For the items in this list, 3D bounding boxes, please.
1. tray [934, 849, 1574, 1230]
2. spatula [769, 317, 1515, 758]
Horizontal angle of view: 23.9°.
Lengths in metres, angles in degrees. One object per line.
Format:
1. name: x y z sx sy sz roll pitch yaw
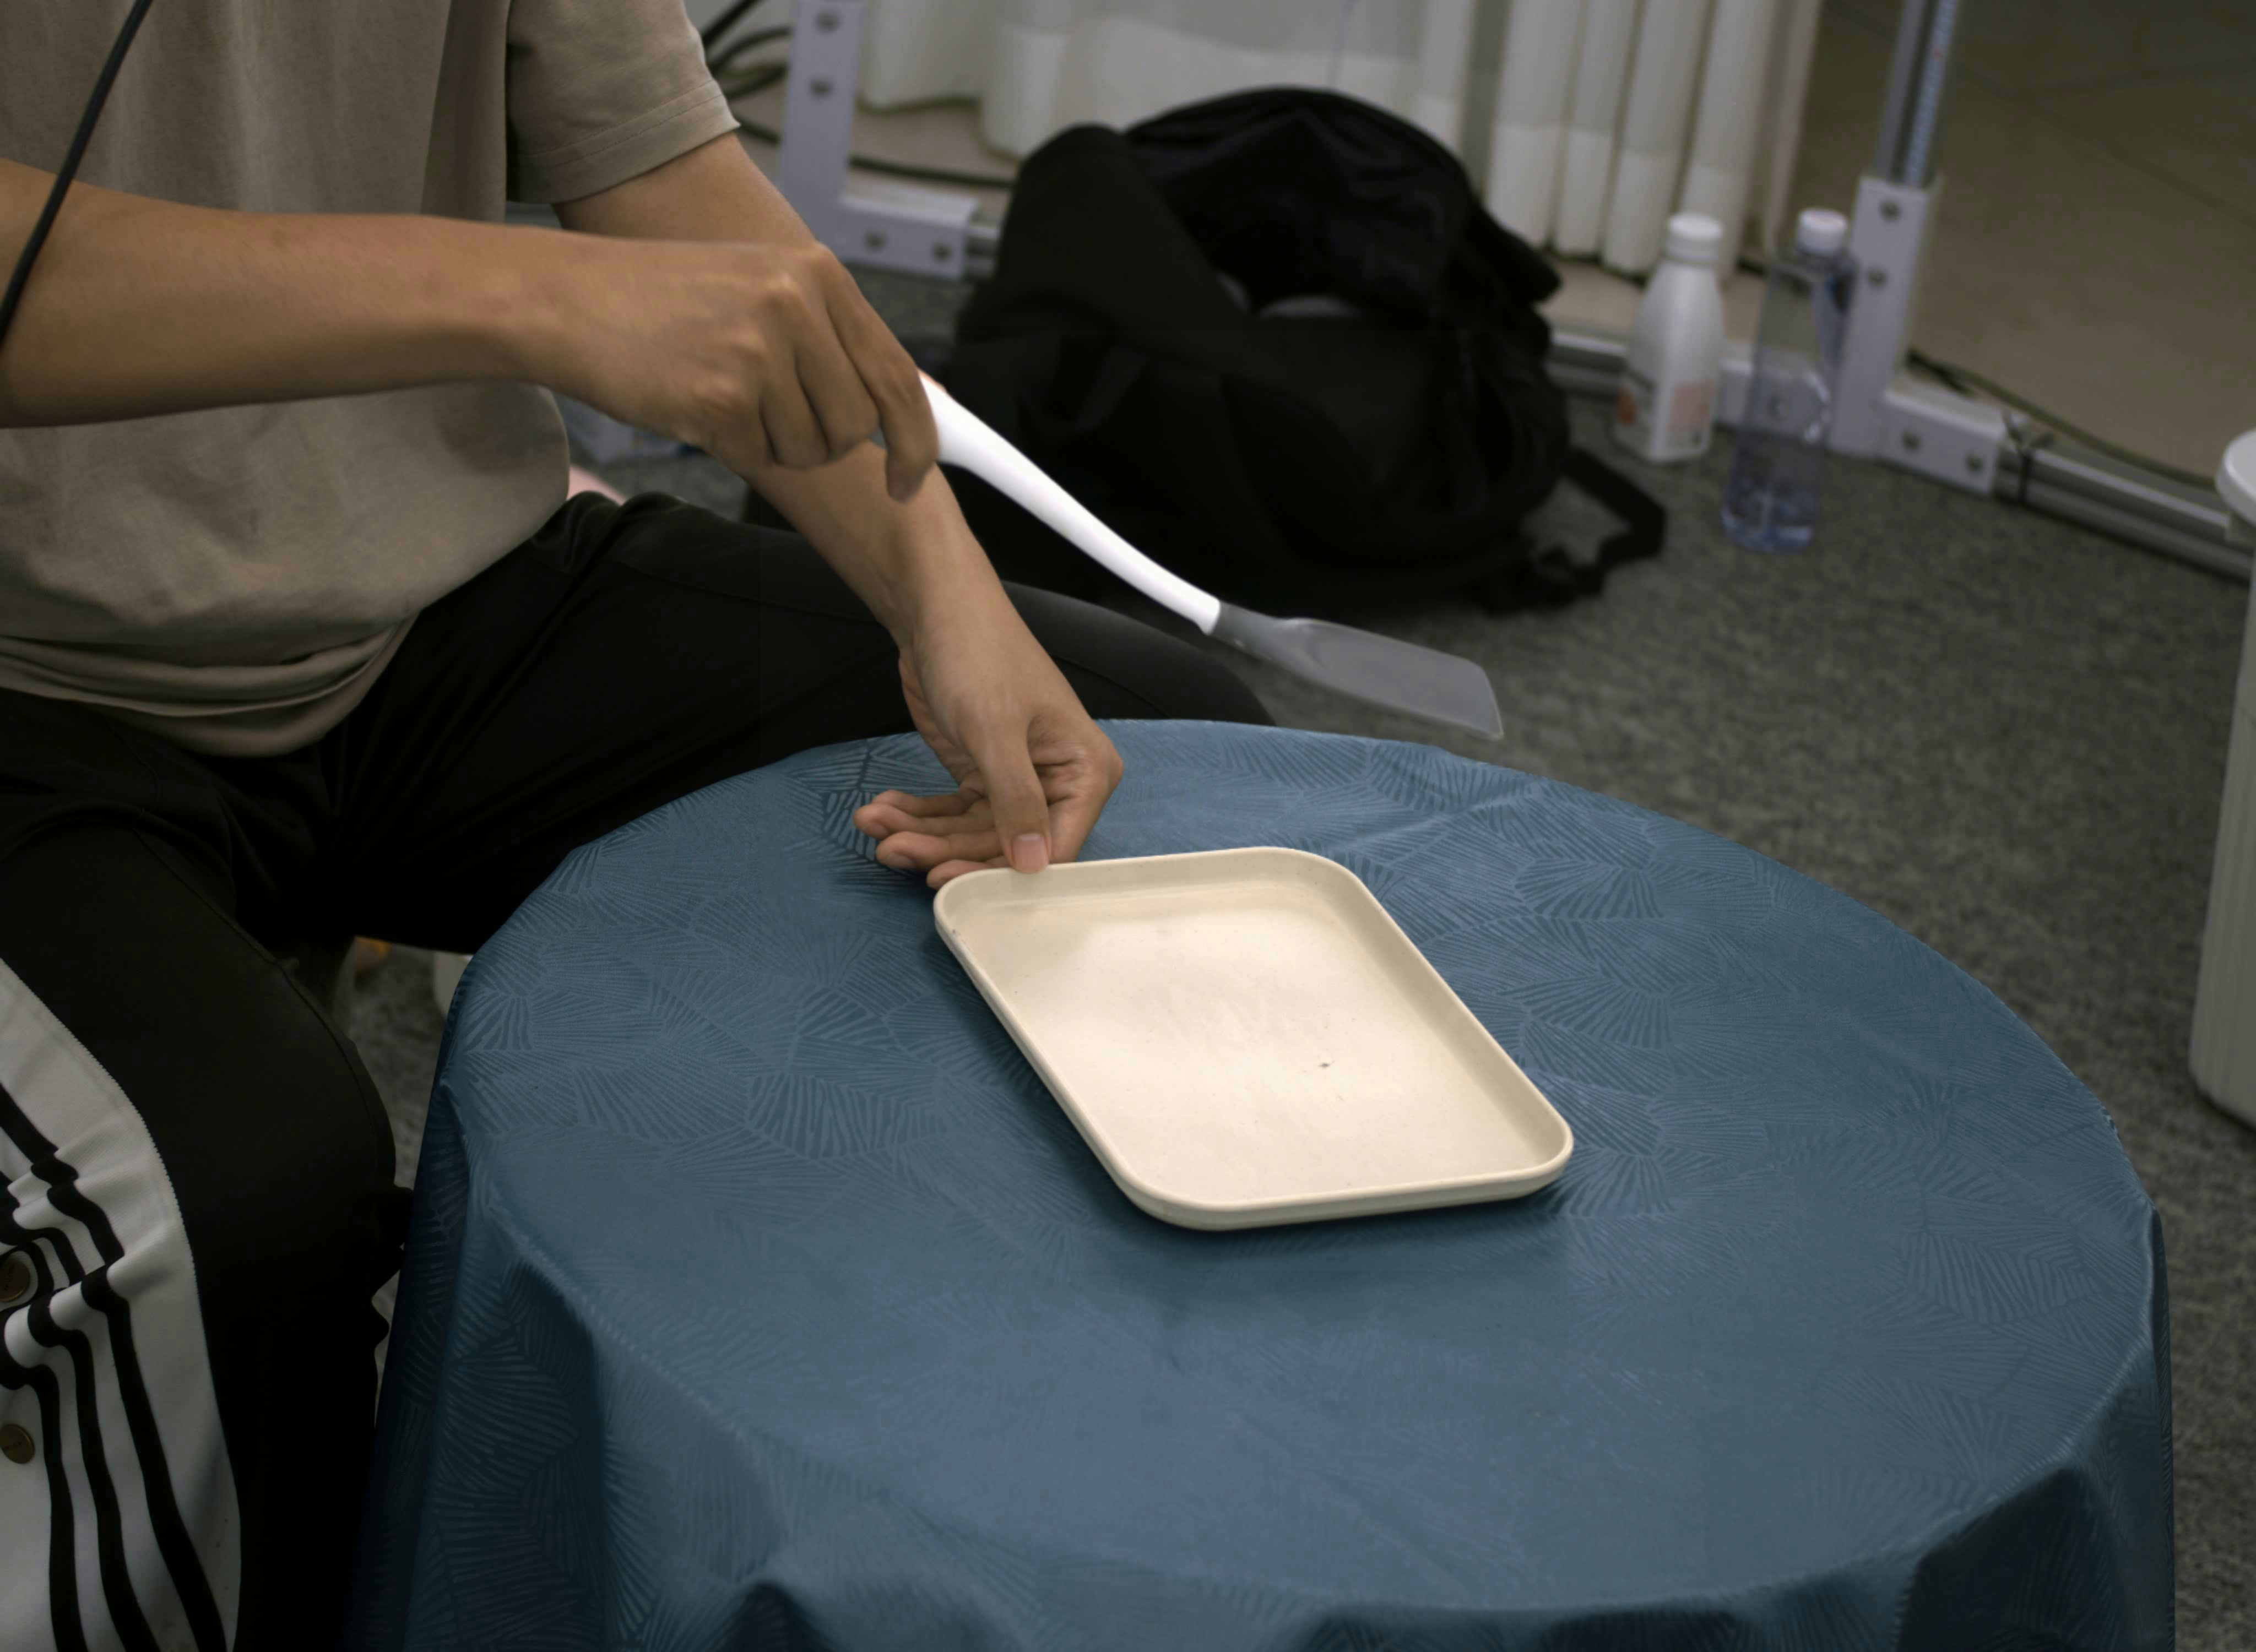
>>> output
1. tray: 0.041 0.074 1.890 0.170 0.017 0.242 -4 29 -22
2. spatula: 0.008 -0.092 1.807 0.285 0.032 0.059 28 21 -18
